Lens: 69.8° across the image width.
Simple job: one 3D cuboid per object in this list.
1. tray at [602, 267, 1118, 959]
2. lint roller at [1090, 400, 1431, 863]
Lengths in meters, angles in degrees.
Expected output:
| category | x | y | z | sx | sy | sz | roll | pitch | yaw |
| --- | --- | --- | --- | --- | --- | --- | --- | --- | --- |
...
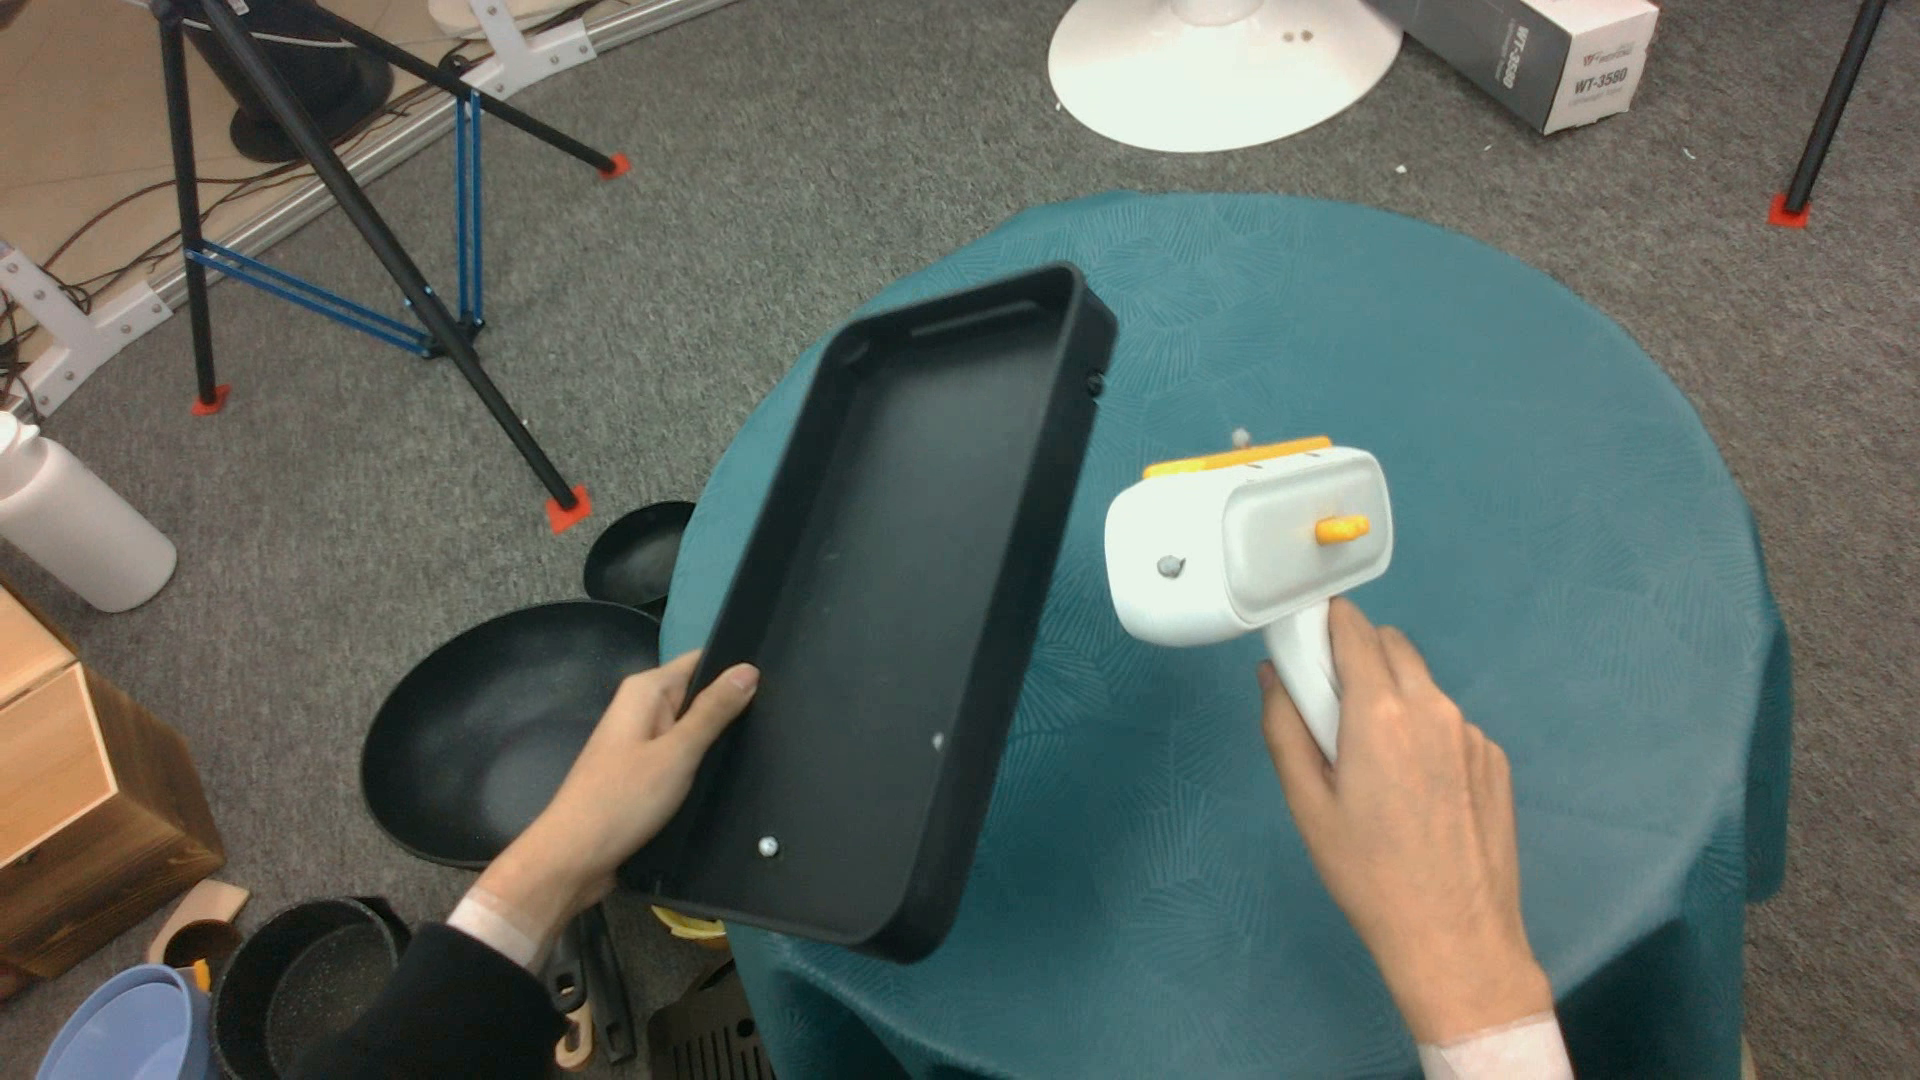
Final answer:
| category | x | y | z | sx | sy | sz | roll | pitch | yaw |
| --- | --- | --- | --- | --- | --- | --- | --- | --- | --- |
| tray | -0.042 | 0.023 | 0.630 | 0.184 | 0.037 | 0.319 | -5 | 56 | 41 |
| lint roller | 0.136 | 0.041 | 0.563 | 0.074 | 0.193 | 0.192 | -16 | 92 | 31 |
